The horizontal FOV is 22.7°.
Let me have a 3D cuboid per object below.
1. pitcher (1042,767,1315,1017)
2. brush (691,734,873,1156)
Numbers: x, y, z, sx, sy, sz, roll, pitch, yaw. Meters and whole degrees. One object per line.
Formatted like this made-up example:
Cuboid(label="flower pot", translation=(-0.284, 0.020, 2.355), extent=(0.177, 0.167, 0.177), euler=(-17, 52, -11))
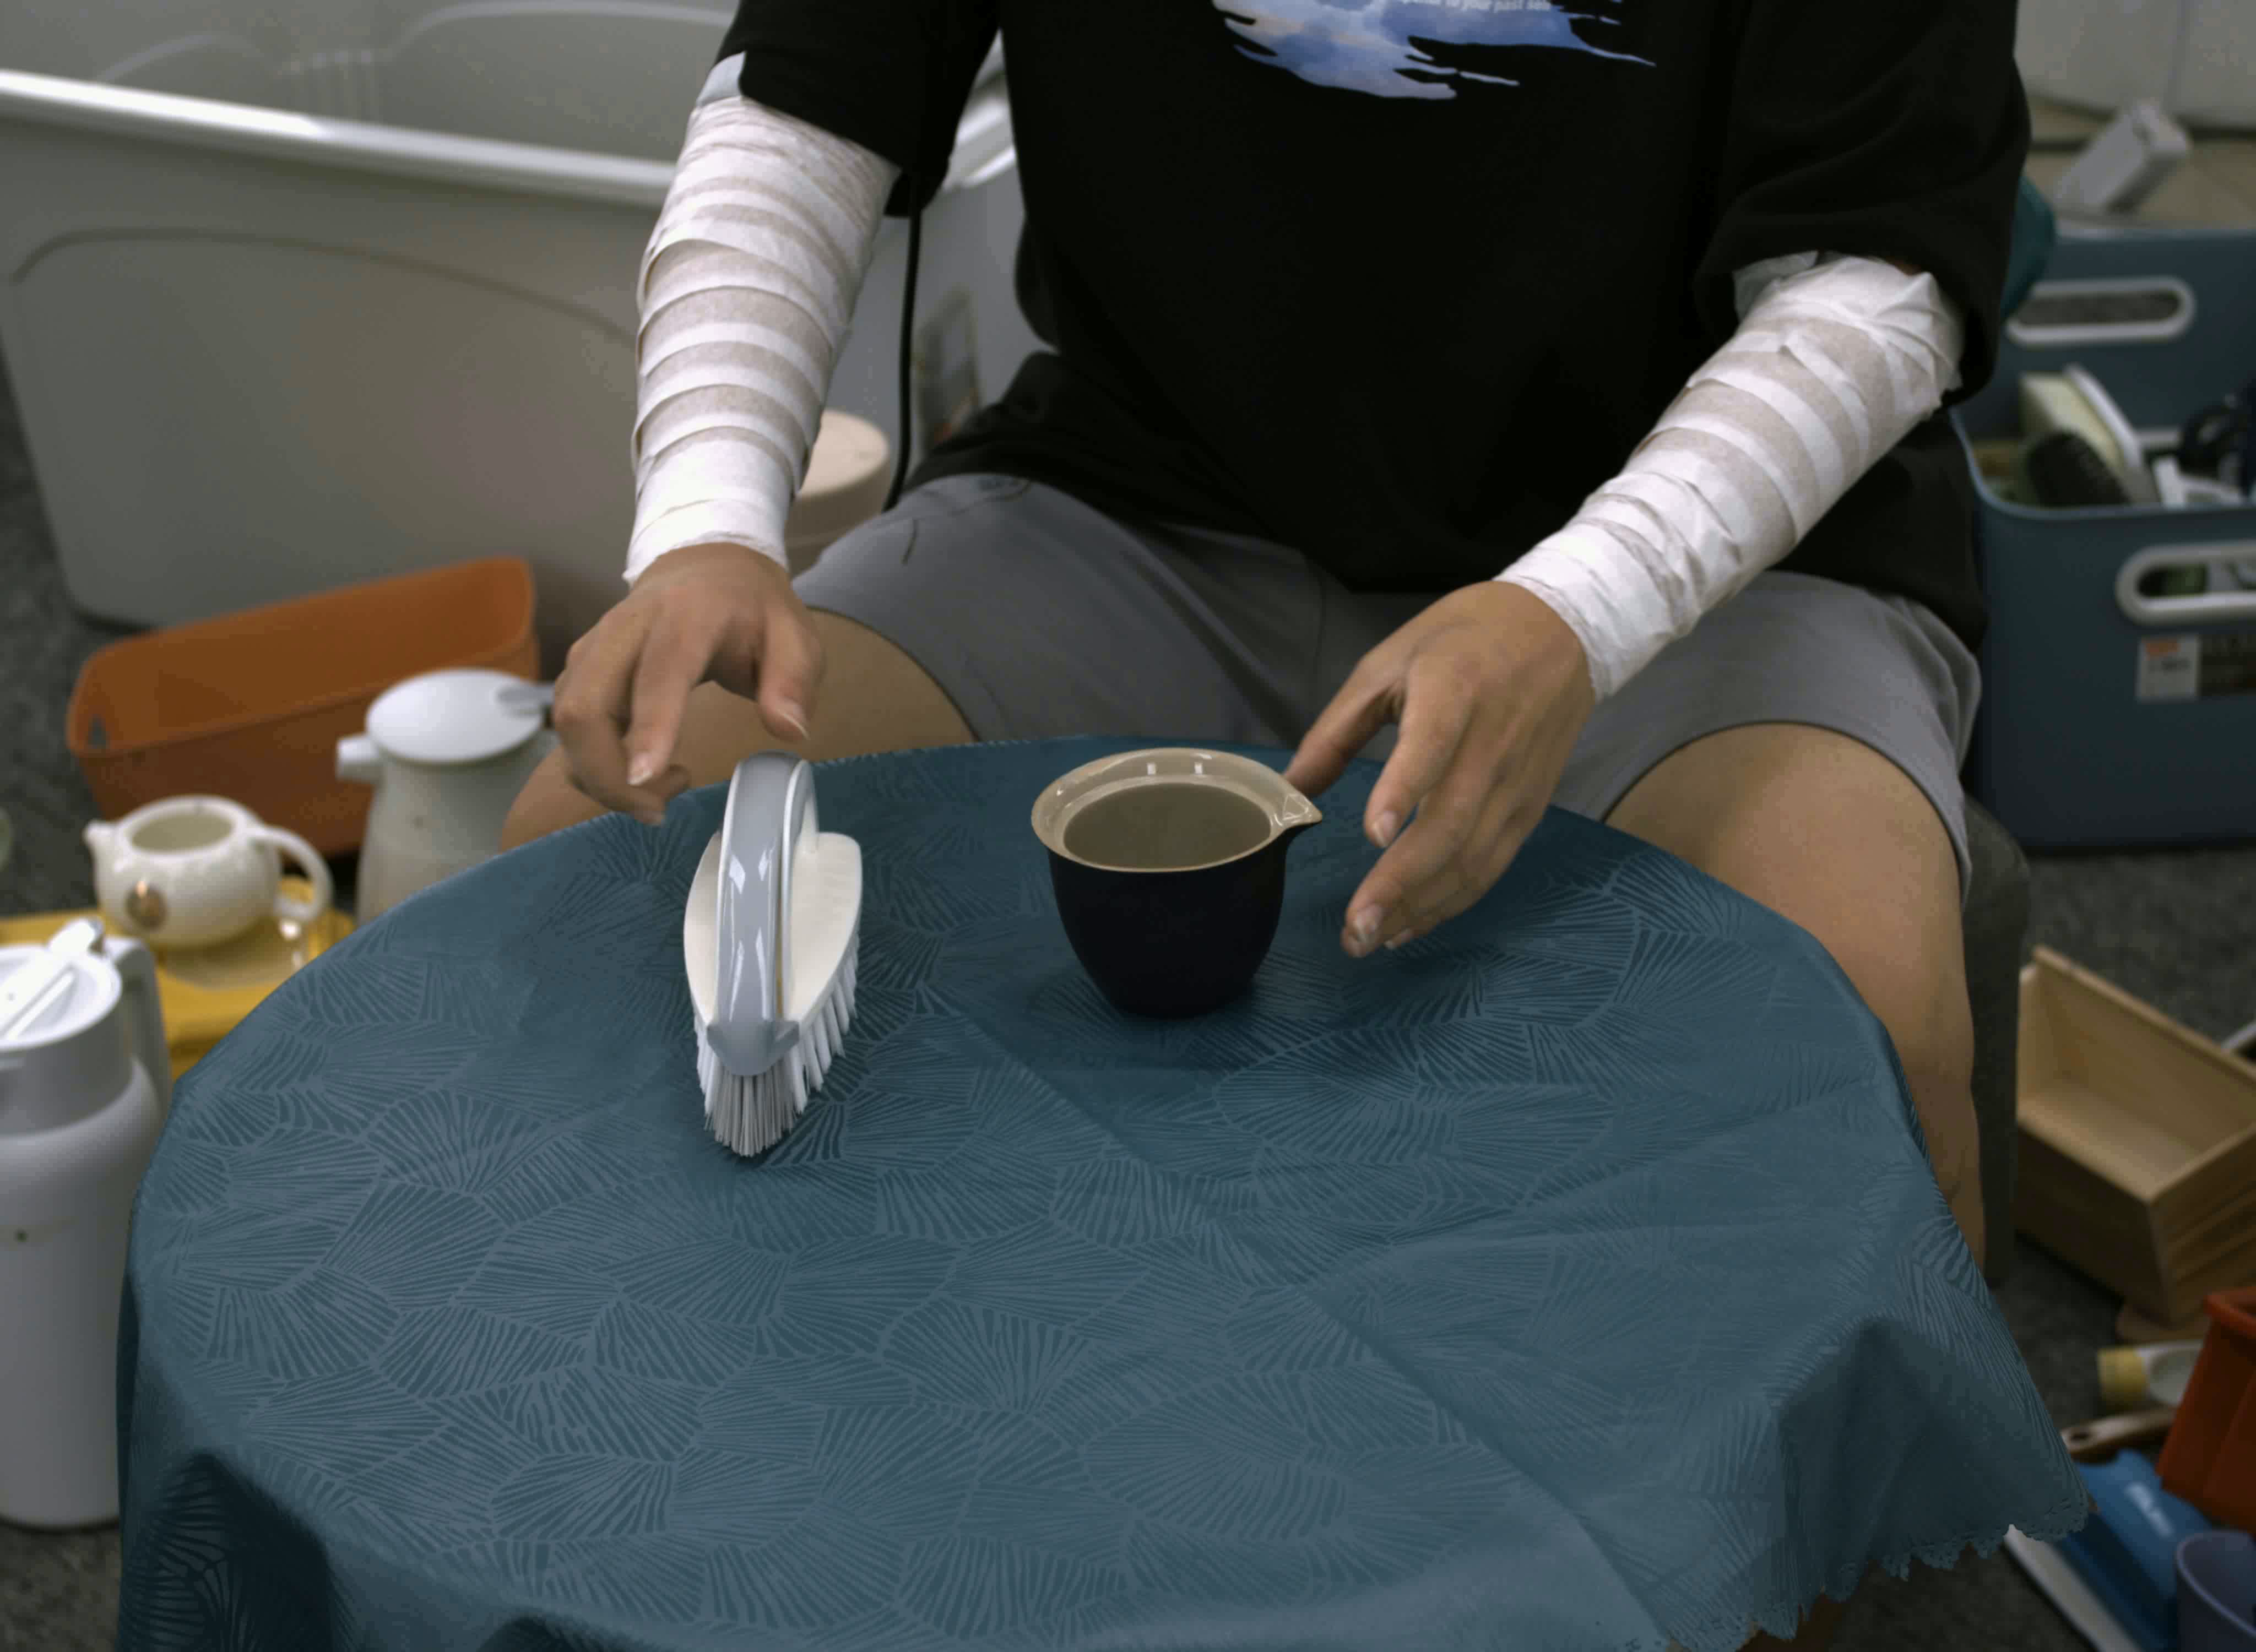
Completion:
Cuboid(label="pitcher", translation=(0.017, 0.025, 1.969), extent=(0.095, 0.070, 0.085), euler=(2, 26, 3))
Cuboid(label="brush", translation=(-0.124, 0.033, 1.947), extent=(0.061, 0.093, 0.178), euler=(-4, 30, 4))
